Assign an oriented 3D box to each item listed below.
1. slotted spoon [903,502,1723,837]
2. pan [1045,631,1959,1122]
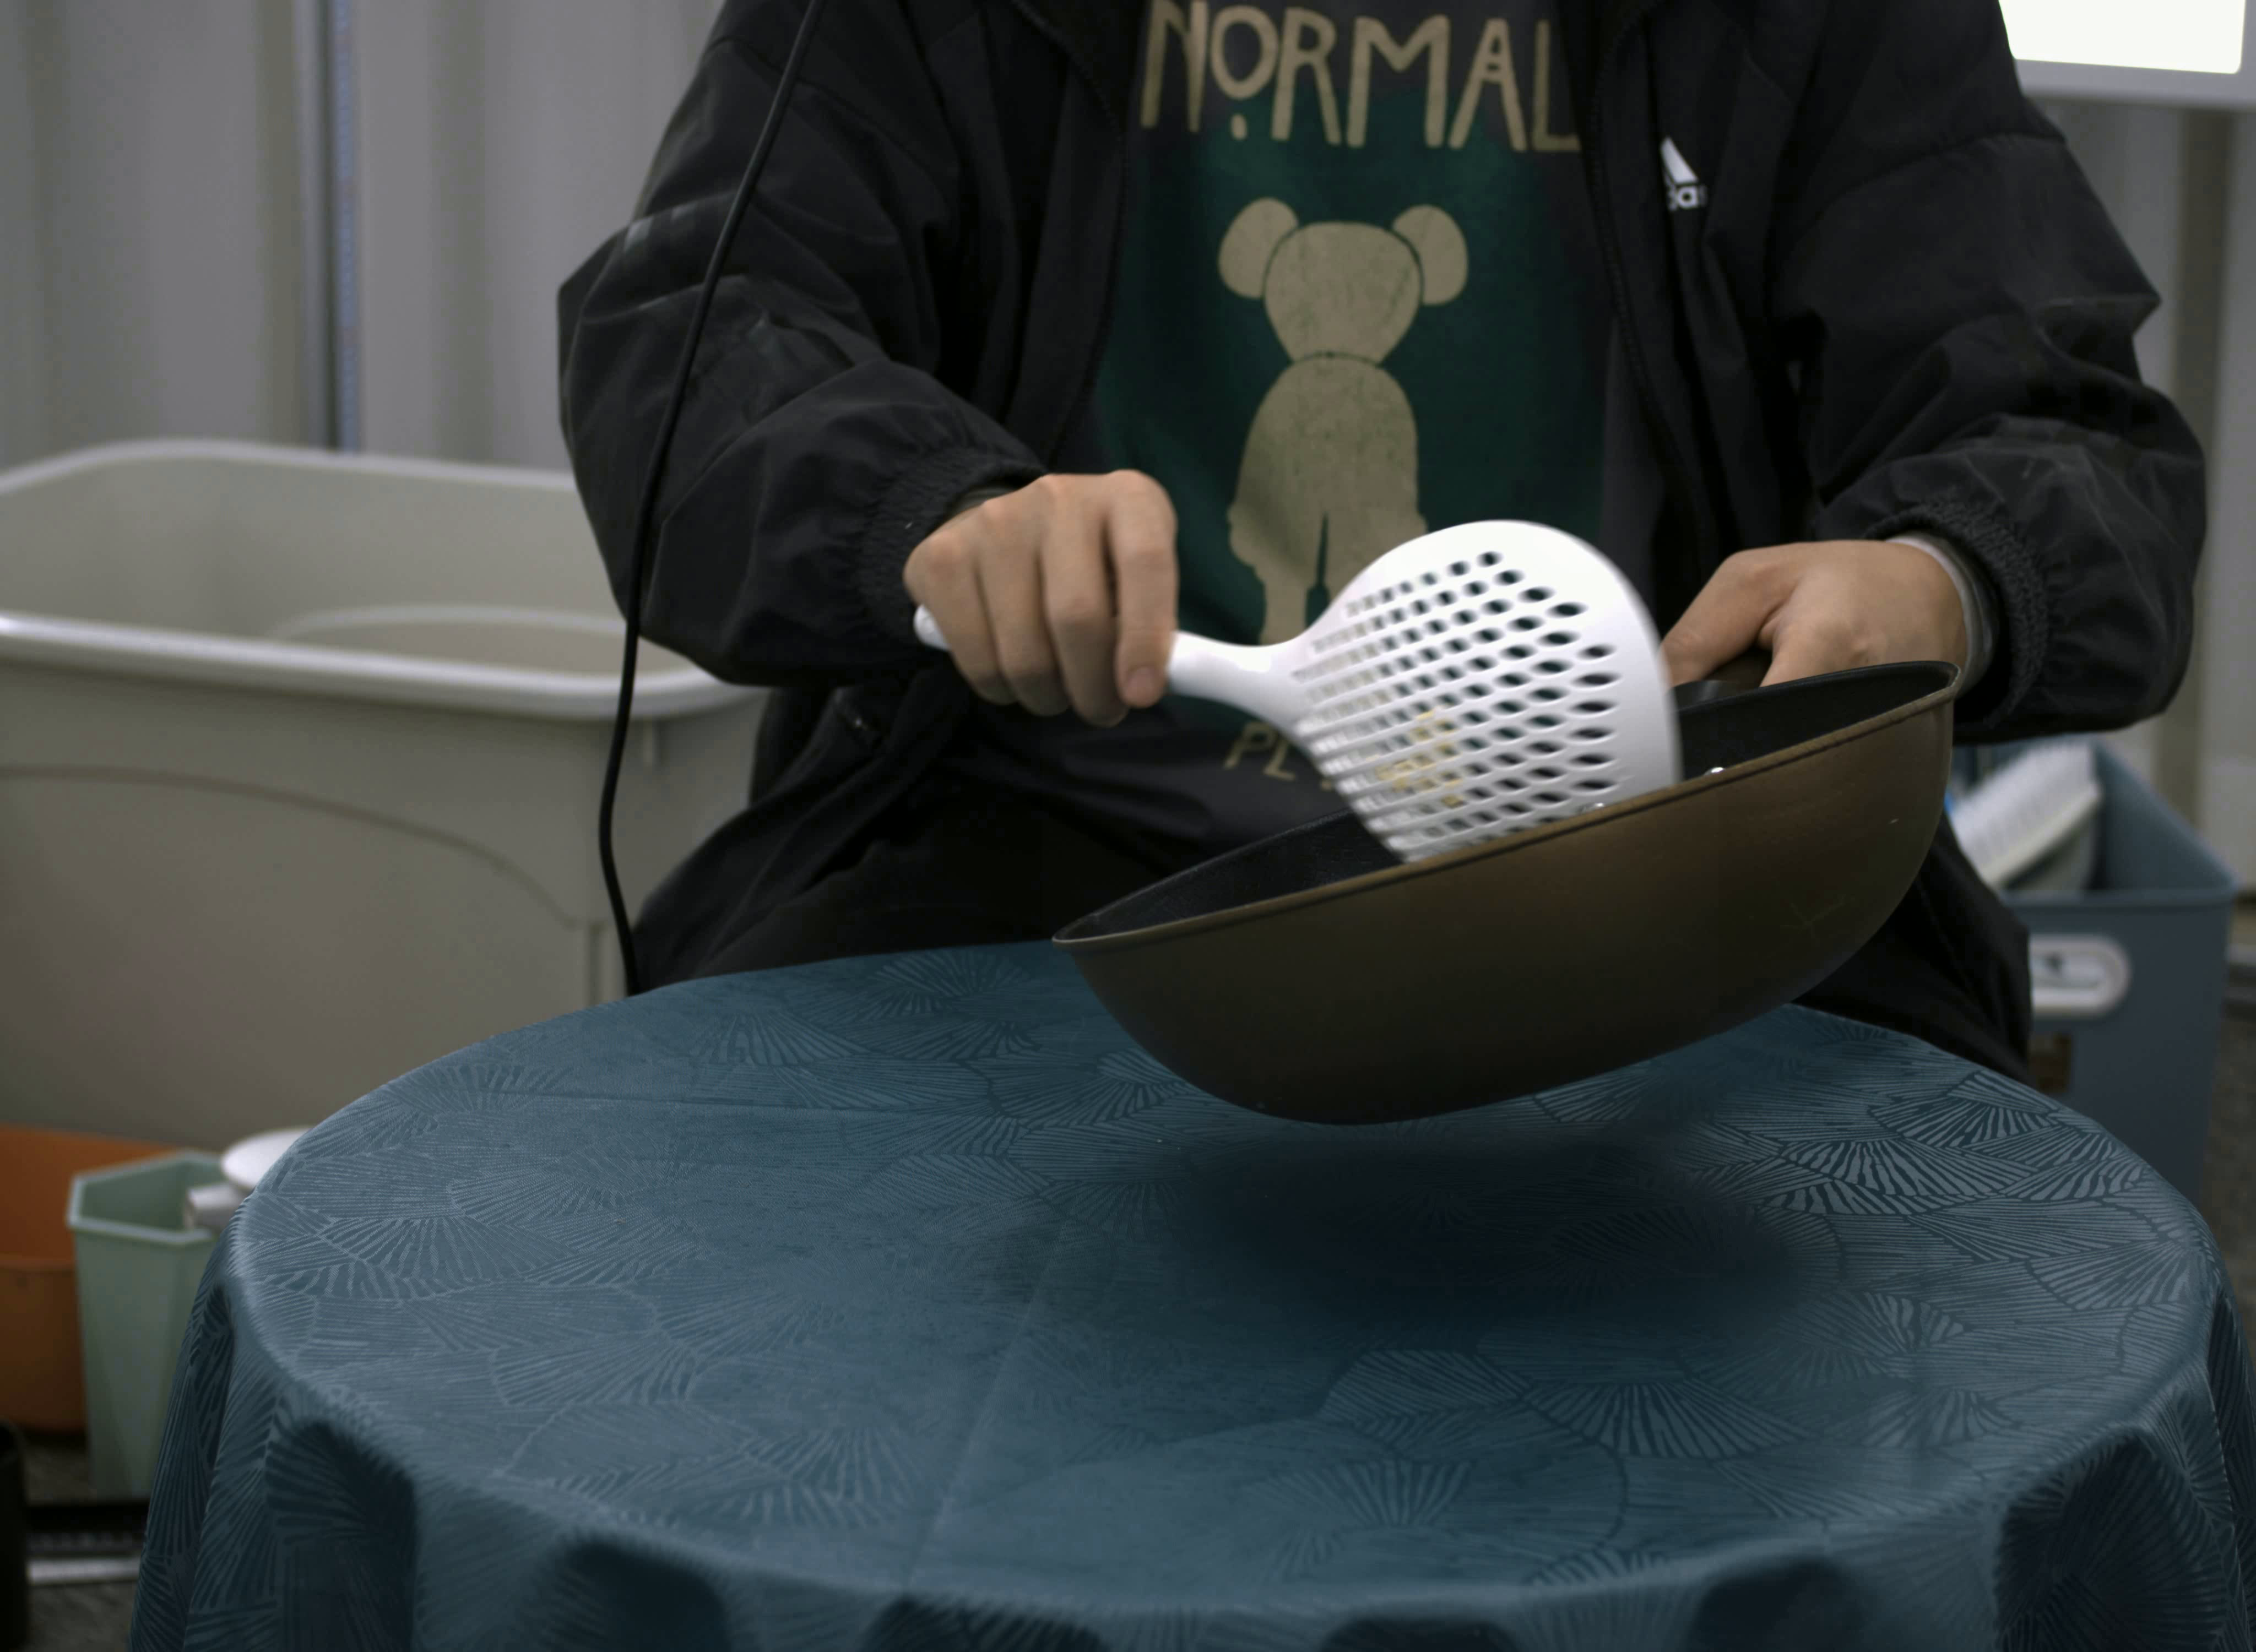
[{"bbox_3d":[0.051,-0.044,1.679,0.050,0.138,0.343,-21,22,-35],"label":"slotted spoon"},{"bbox_3d":[0.158,0.011,1.656,0.286,0.087,0.465,-15,4,26],"label":"pan"}]
